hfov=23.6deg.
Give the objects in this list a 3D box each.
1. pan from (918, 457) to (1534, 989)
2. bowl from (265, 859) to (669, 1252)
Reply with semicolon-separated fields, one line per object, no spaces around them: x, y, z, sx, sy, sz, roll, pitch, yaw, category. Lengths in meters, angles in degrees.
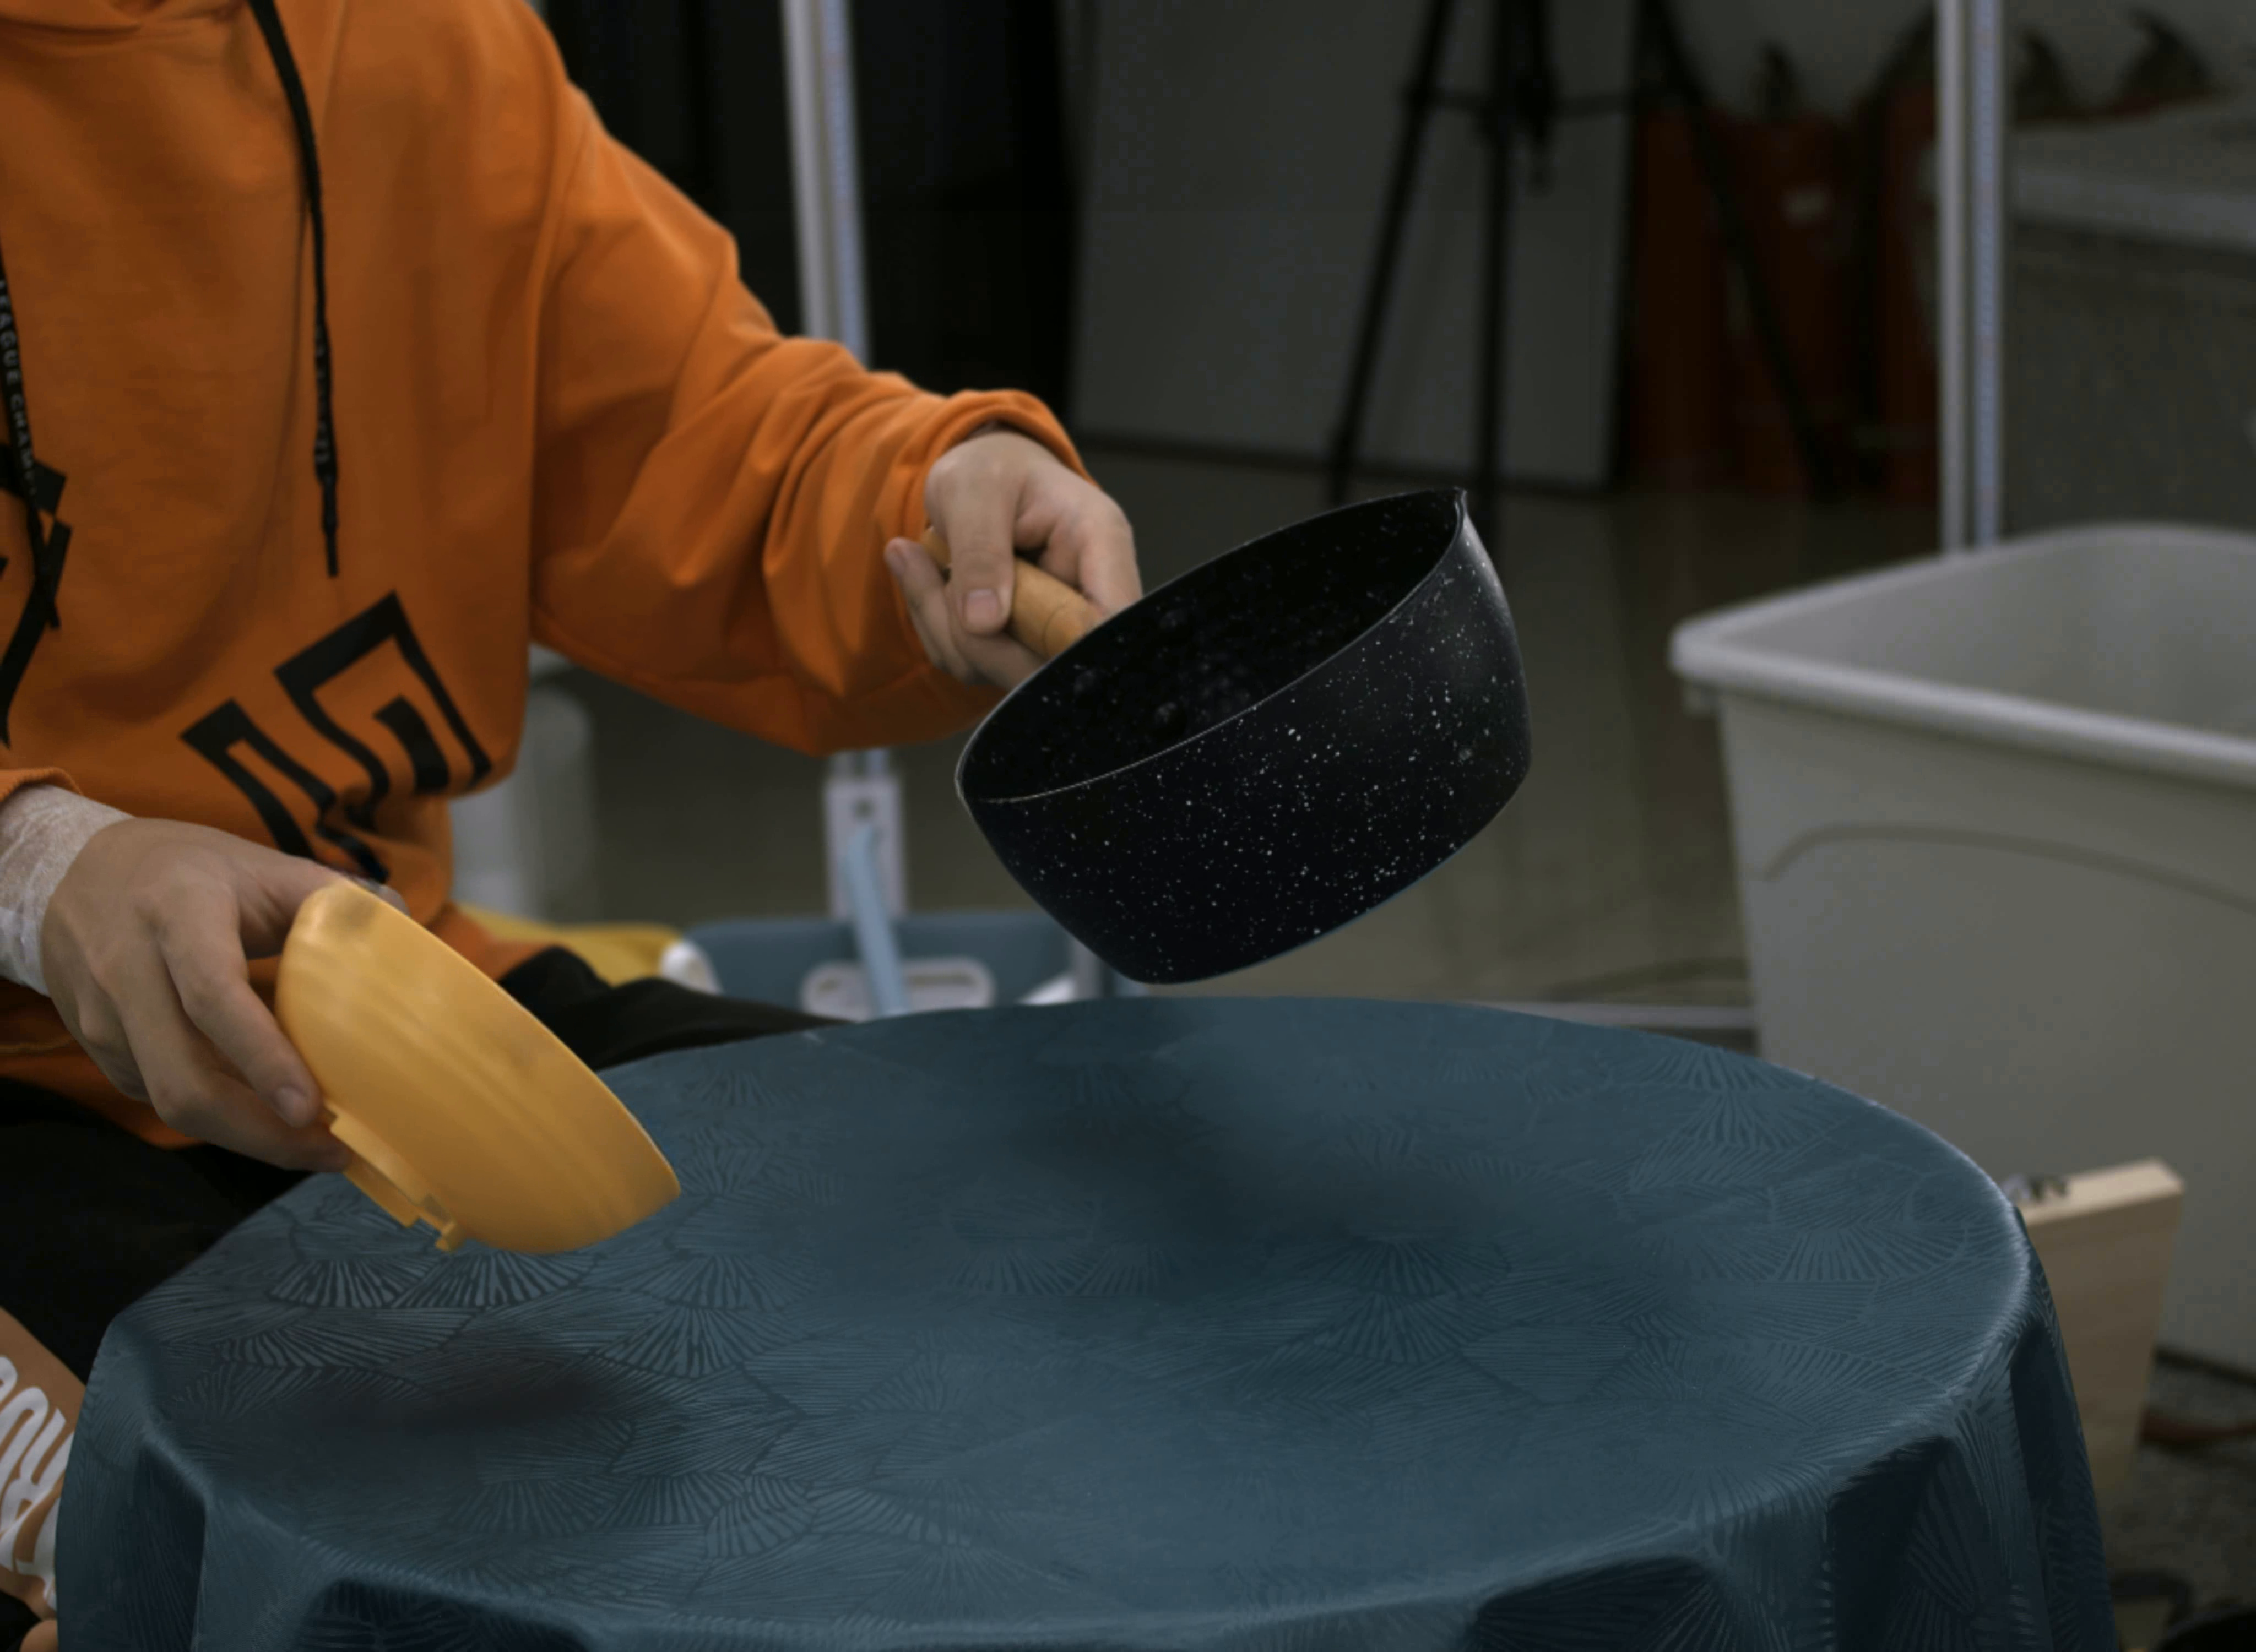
0.011;-0.043;1.791;0.205;0.108;0.346;-35;17;-14;pan
-0.207;0.081;1.597;0.060;0.144;0.147;-48;31;-16;bowl
